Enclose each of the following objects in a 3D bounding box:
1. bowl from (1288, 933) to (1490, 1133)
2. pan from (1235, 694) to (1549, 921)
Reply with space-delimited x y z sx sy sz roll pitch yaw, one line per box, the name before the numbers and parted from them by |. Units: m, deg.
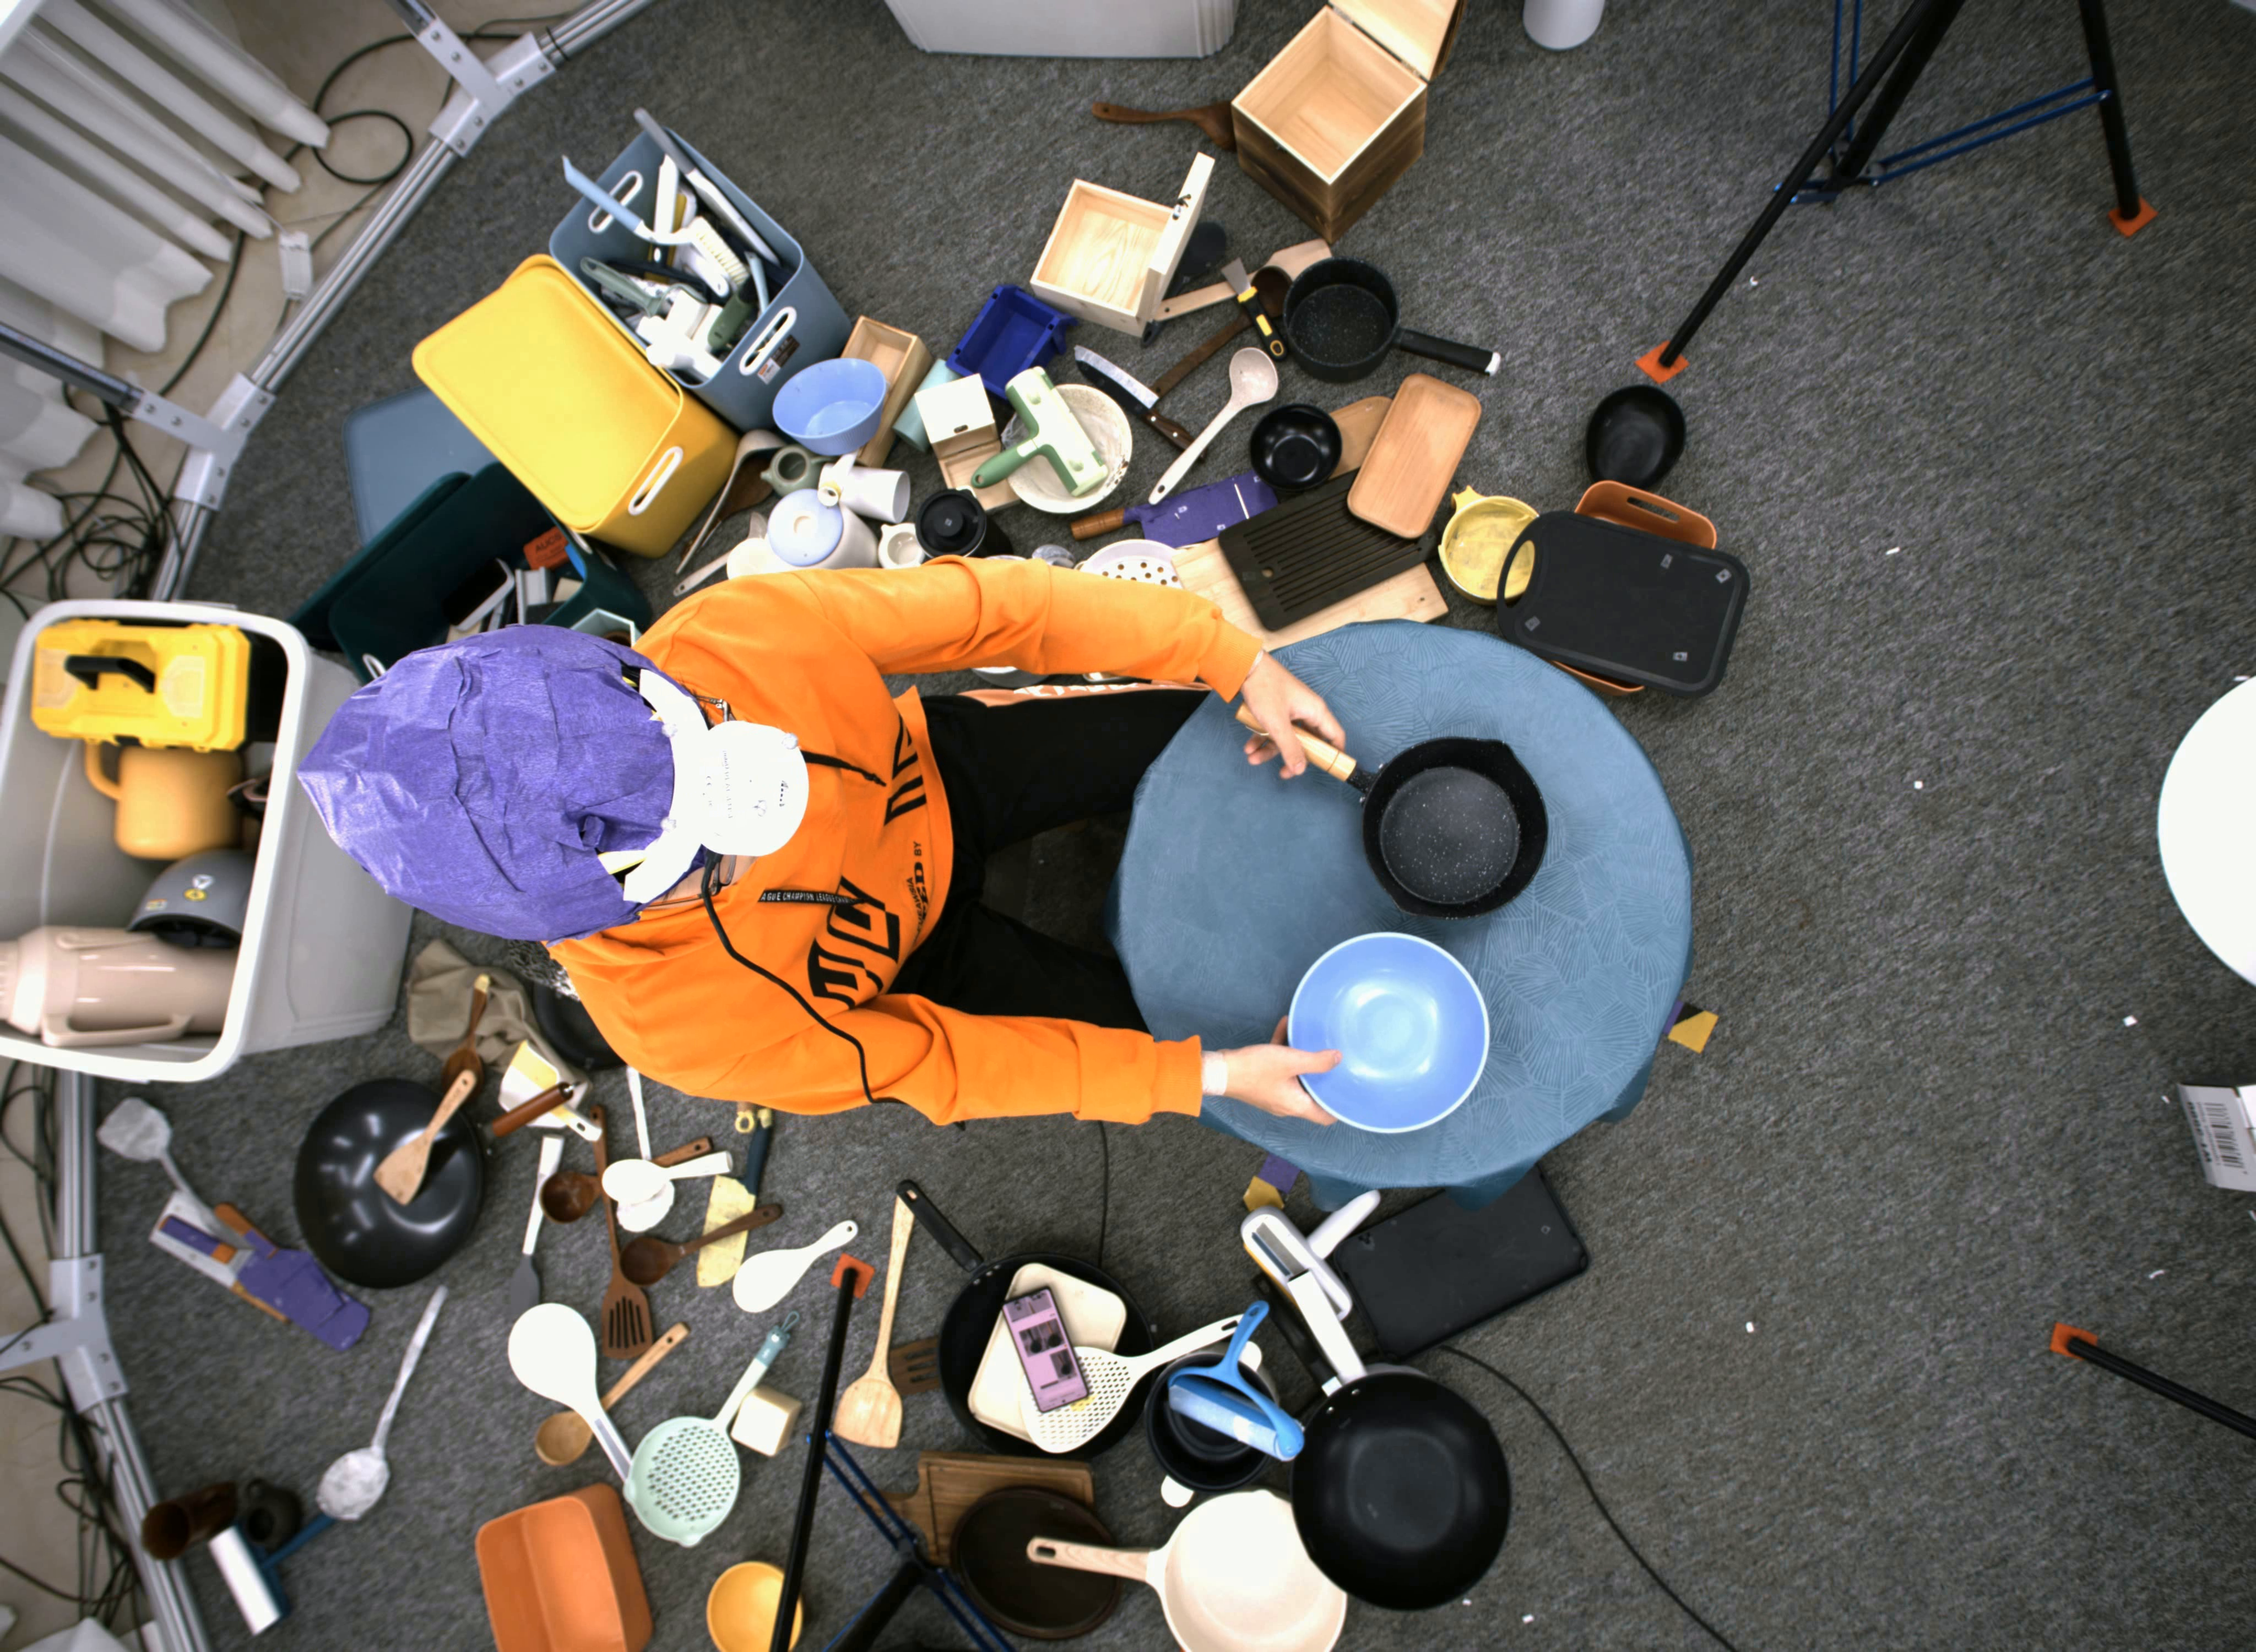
bowl | 0.263 0.206 1.405 0.197 0.095 0.196 -1 87 10
pan | 0.262 -0.035 1.413 0.342 0.108 0.208 29 93 9
